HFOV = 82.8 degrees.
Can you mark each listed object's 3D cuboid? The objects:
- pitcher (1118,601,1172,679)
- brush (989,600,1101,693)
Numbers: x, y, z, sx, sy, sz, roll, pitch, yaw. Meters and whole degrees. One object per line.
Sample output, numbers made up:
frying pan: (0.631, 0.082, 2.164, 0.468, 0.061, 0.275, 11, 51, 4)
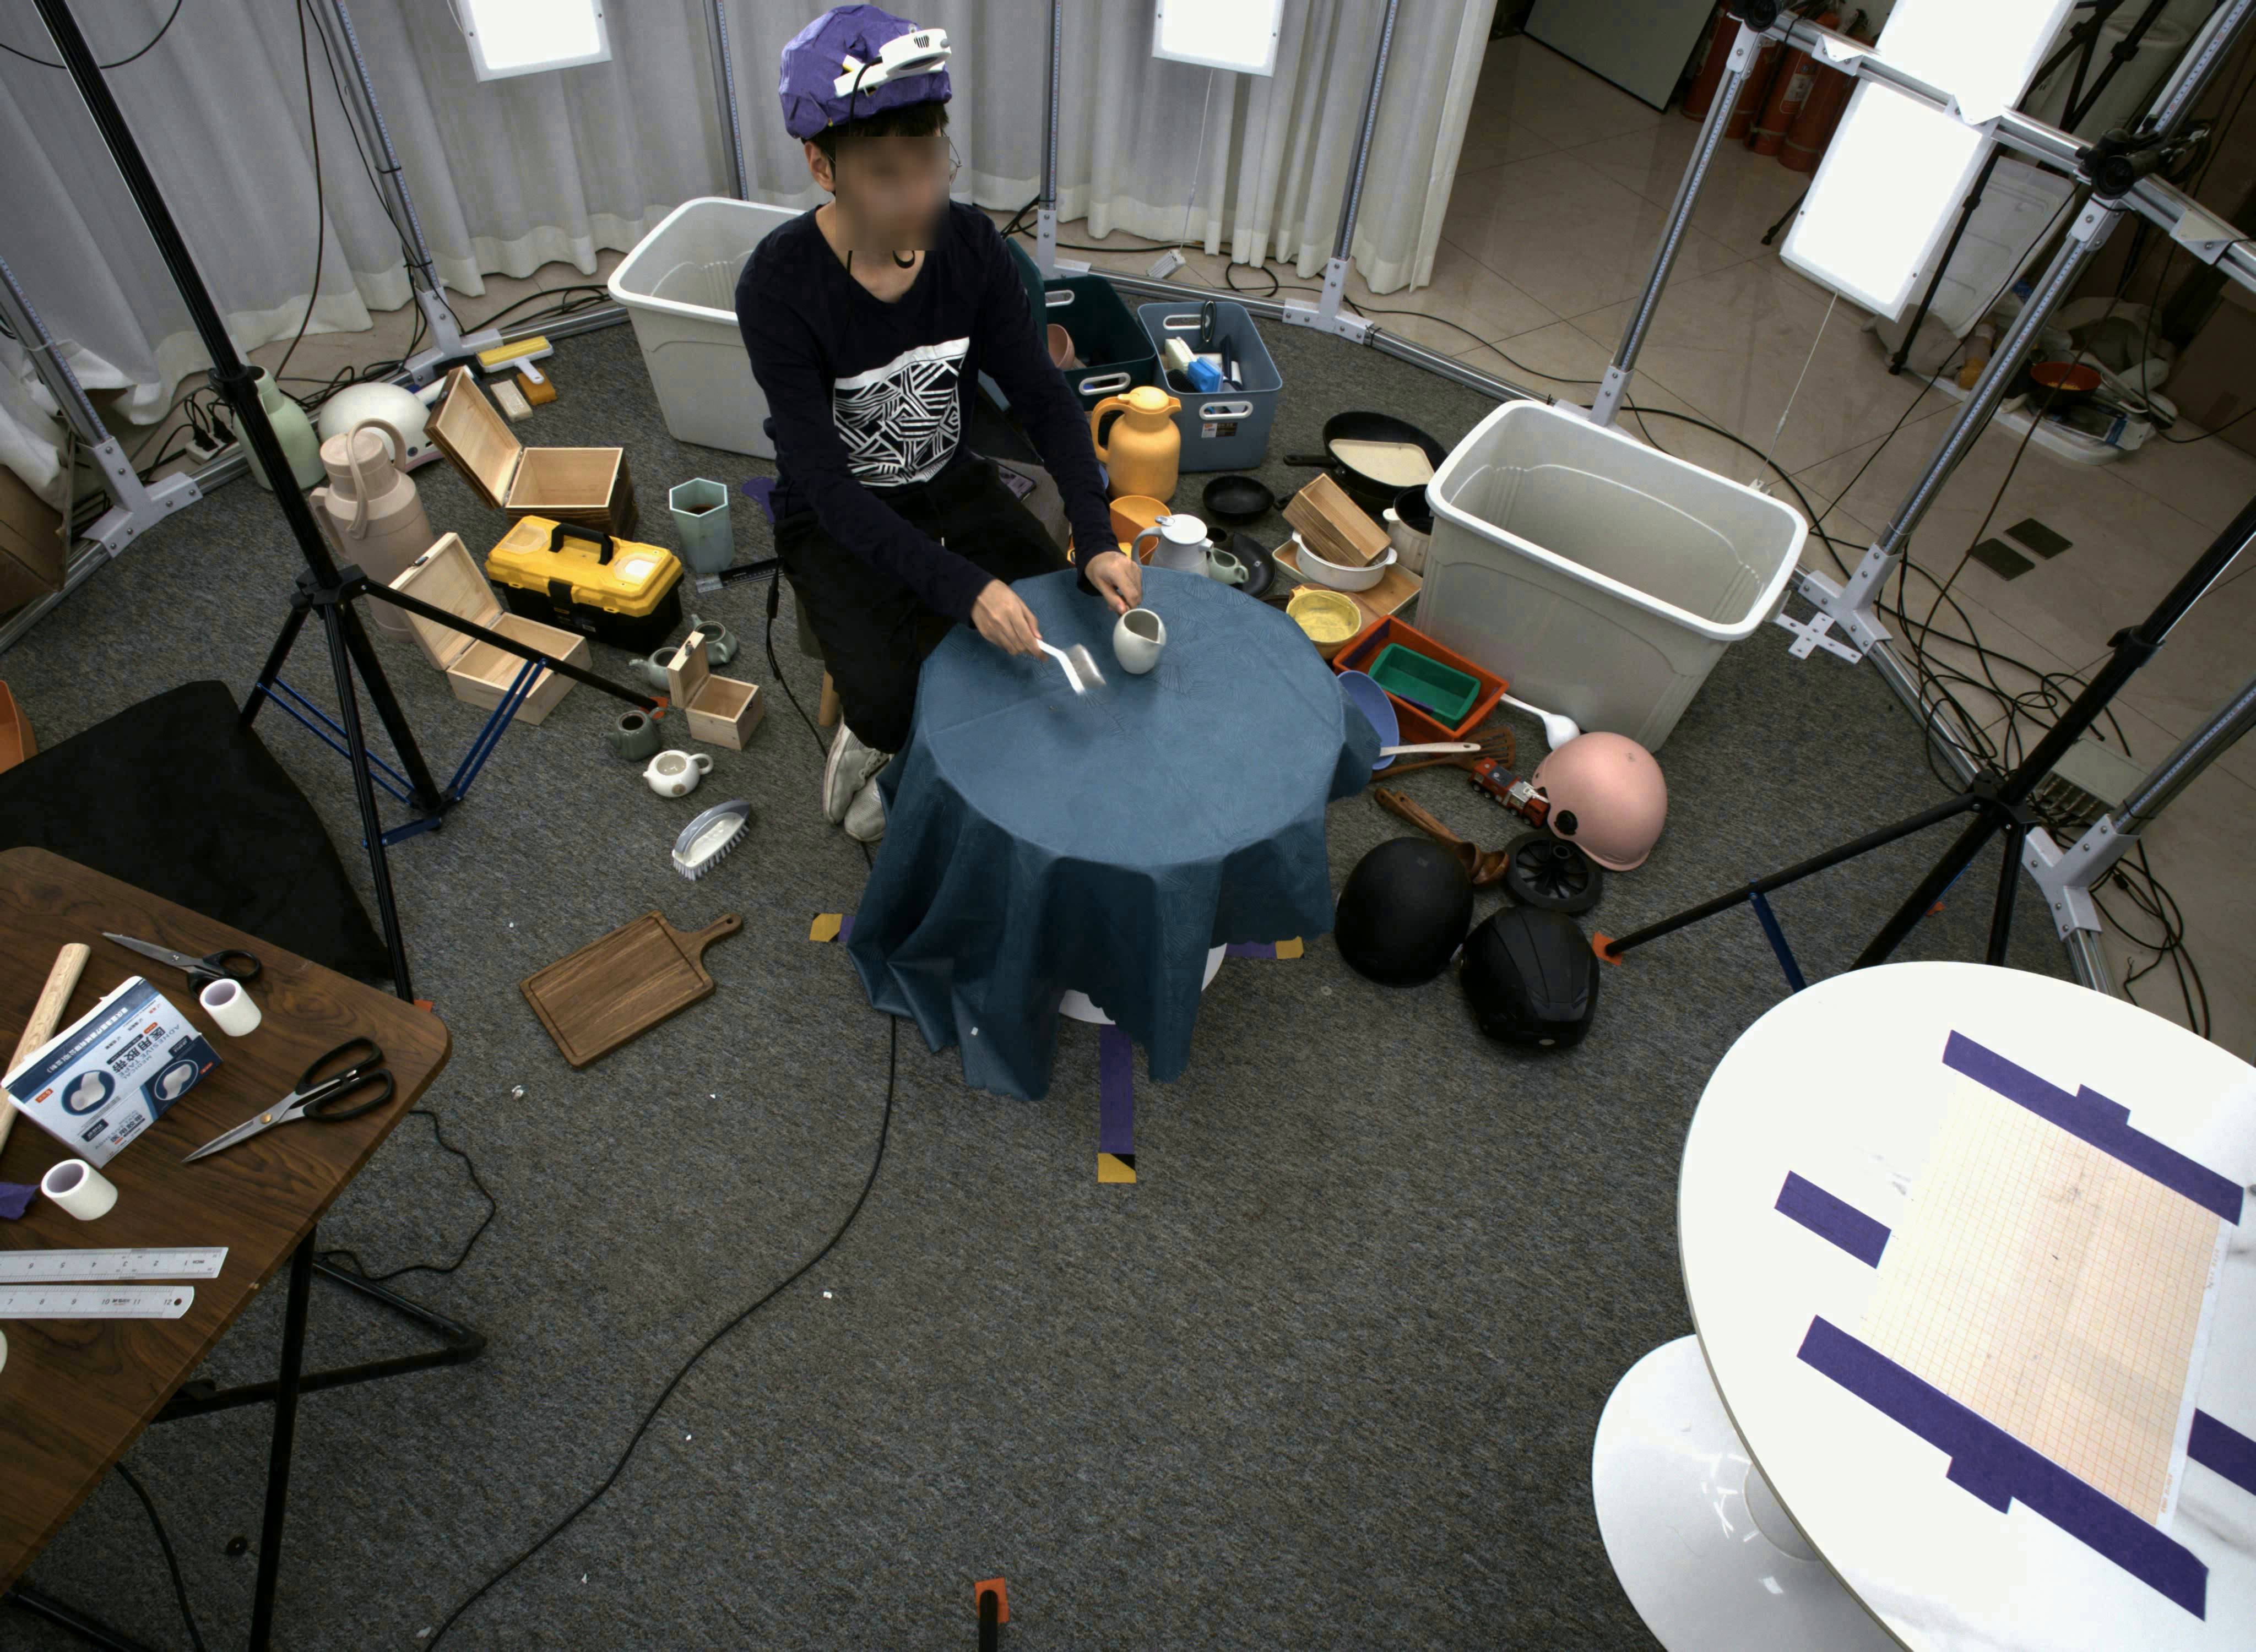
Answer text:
pitcher: (0.020, -0.262, 1.839, 0.076, 0.086, 0.122, -15, 57, -22)
brush: (-0.118, -0.268, 1.803, 0.034, 0.050, 0.248, 11, 28, -49)
